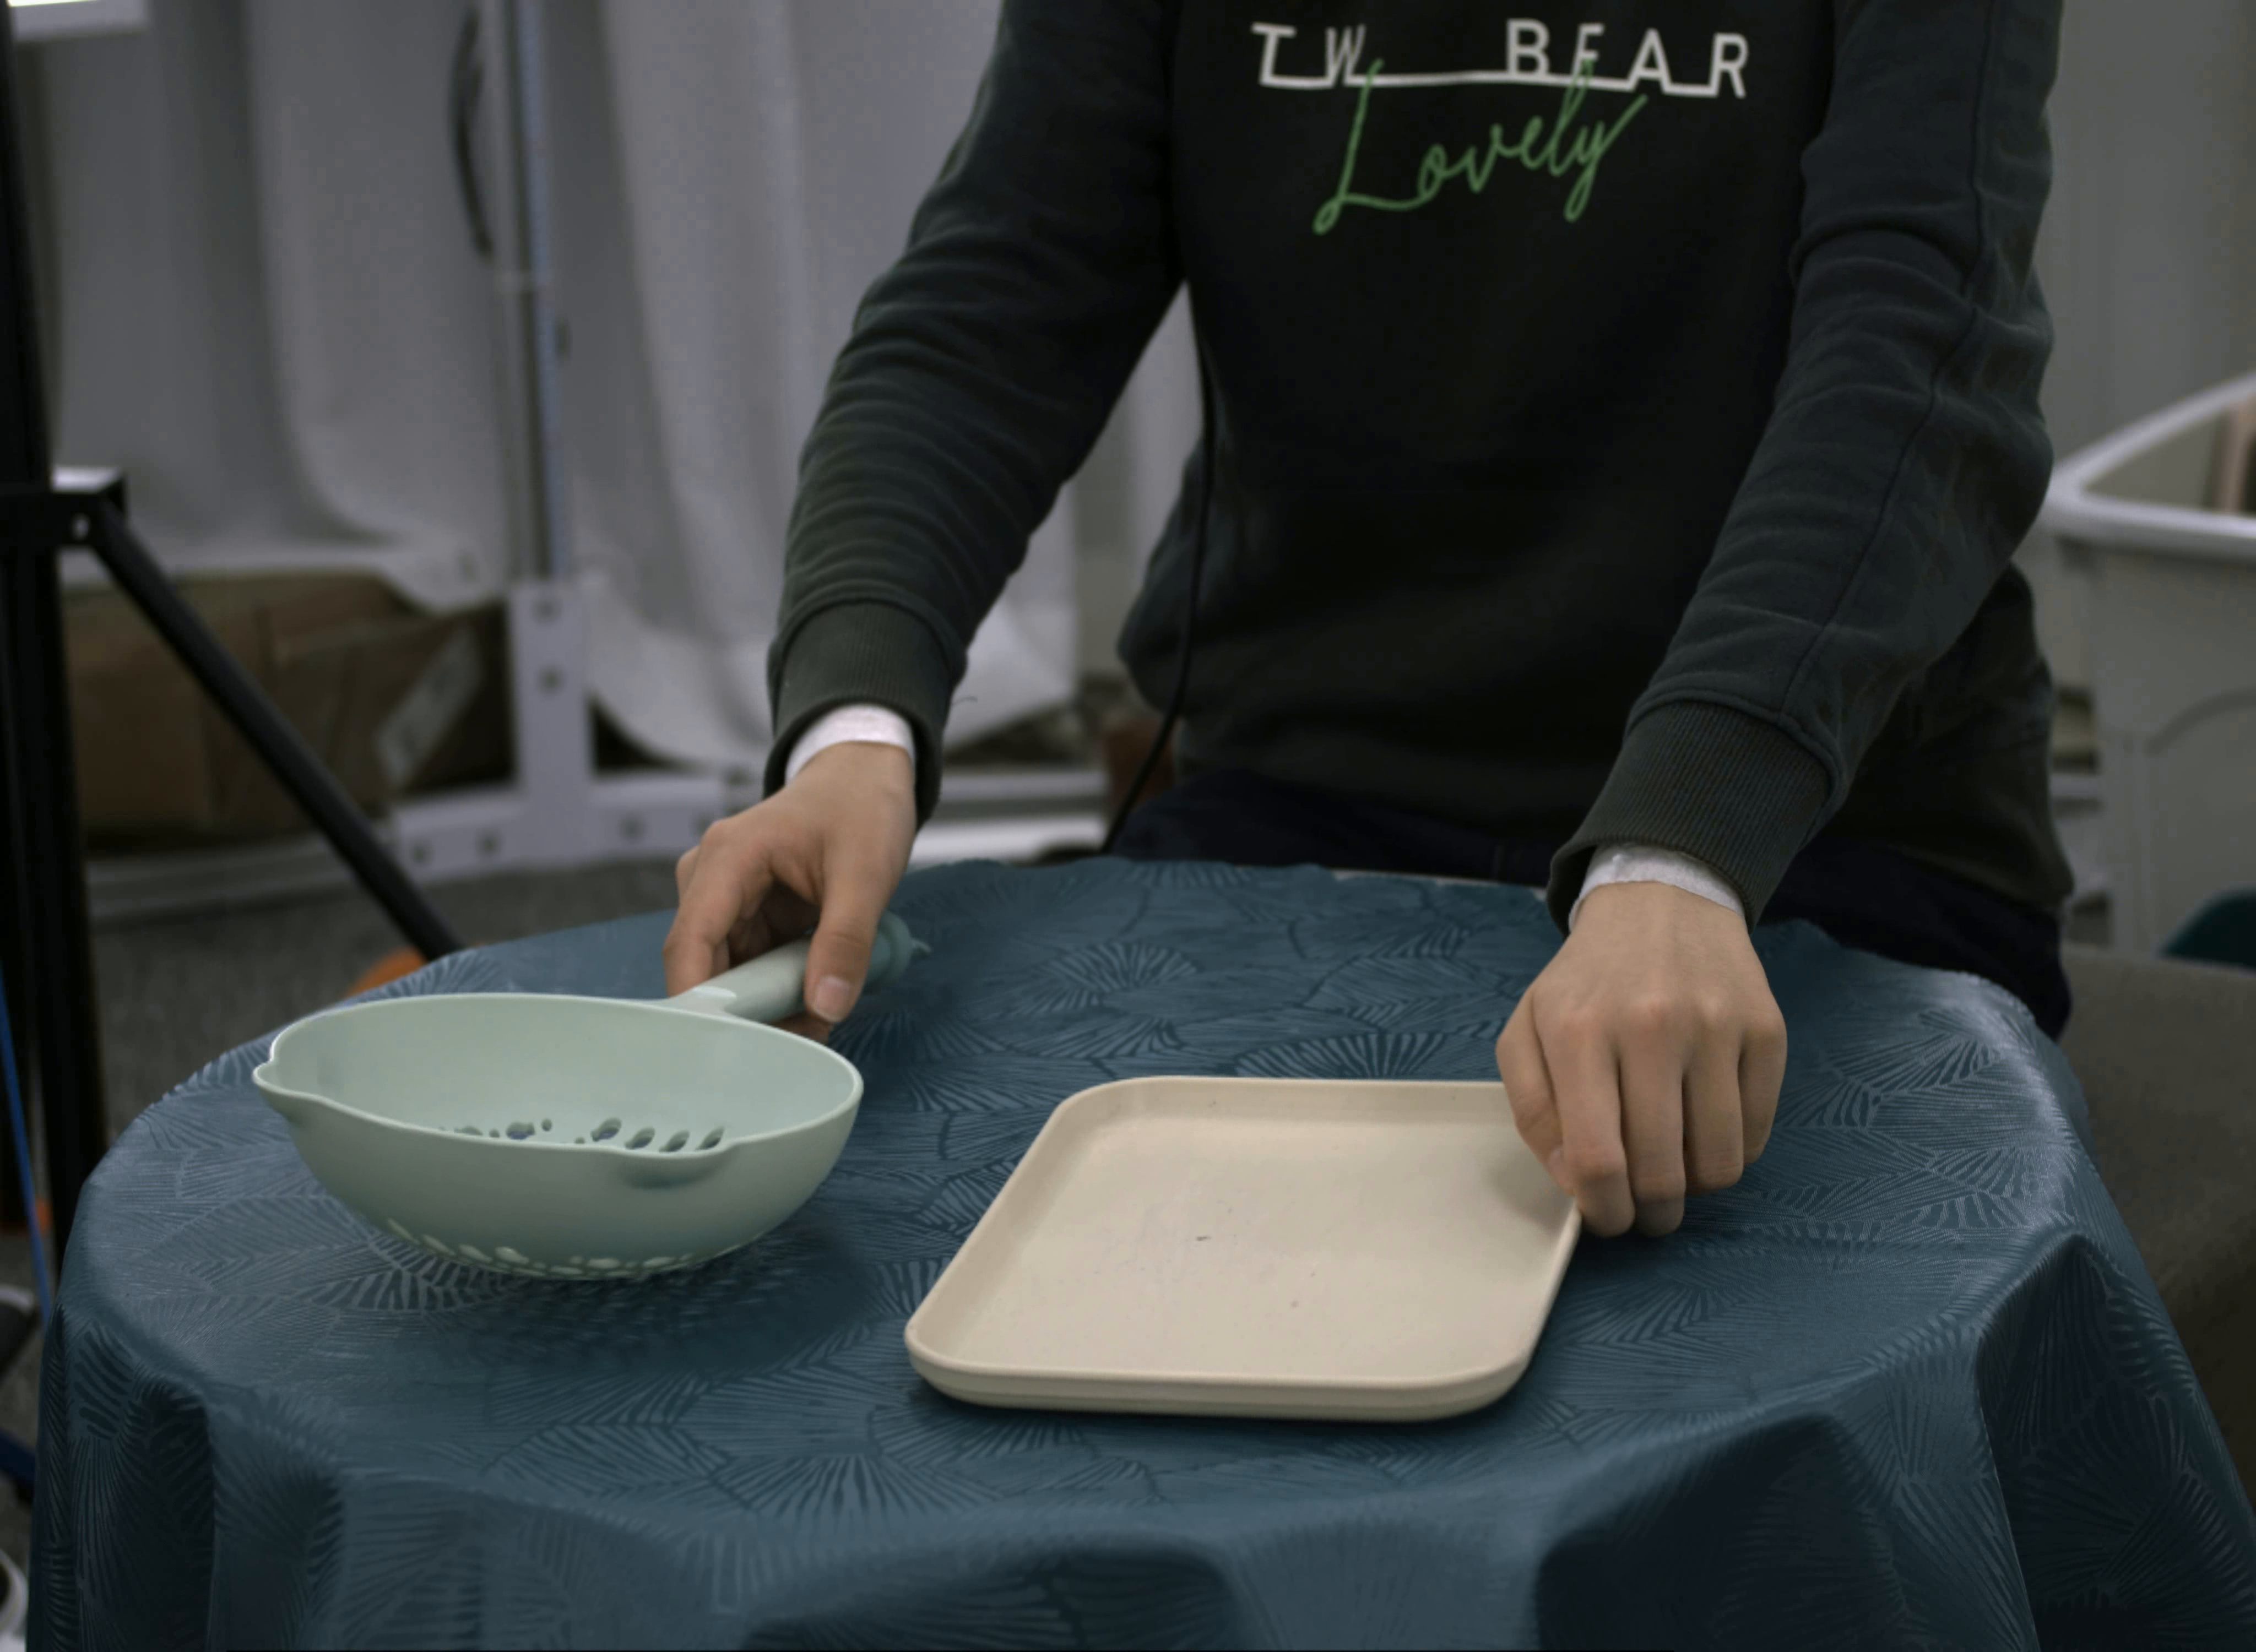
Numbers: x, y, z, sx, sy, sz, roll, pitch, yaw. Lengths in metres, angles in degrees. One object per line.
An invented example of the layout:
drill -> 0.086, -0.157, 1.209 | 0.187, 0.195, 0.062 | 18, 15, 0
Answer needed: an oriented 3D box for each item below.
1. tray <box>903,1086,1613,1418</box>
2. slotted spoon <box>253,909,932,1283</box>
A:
tray -> 0.042, 0.117, 1.480 | 0.172, 0.017, 0.238 | 0, 15, 14
slotted spoon -> -0.129, 0.065, 1.605 | 0.171, 0.075, 0.355 | 9, 20, 18
